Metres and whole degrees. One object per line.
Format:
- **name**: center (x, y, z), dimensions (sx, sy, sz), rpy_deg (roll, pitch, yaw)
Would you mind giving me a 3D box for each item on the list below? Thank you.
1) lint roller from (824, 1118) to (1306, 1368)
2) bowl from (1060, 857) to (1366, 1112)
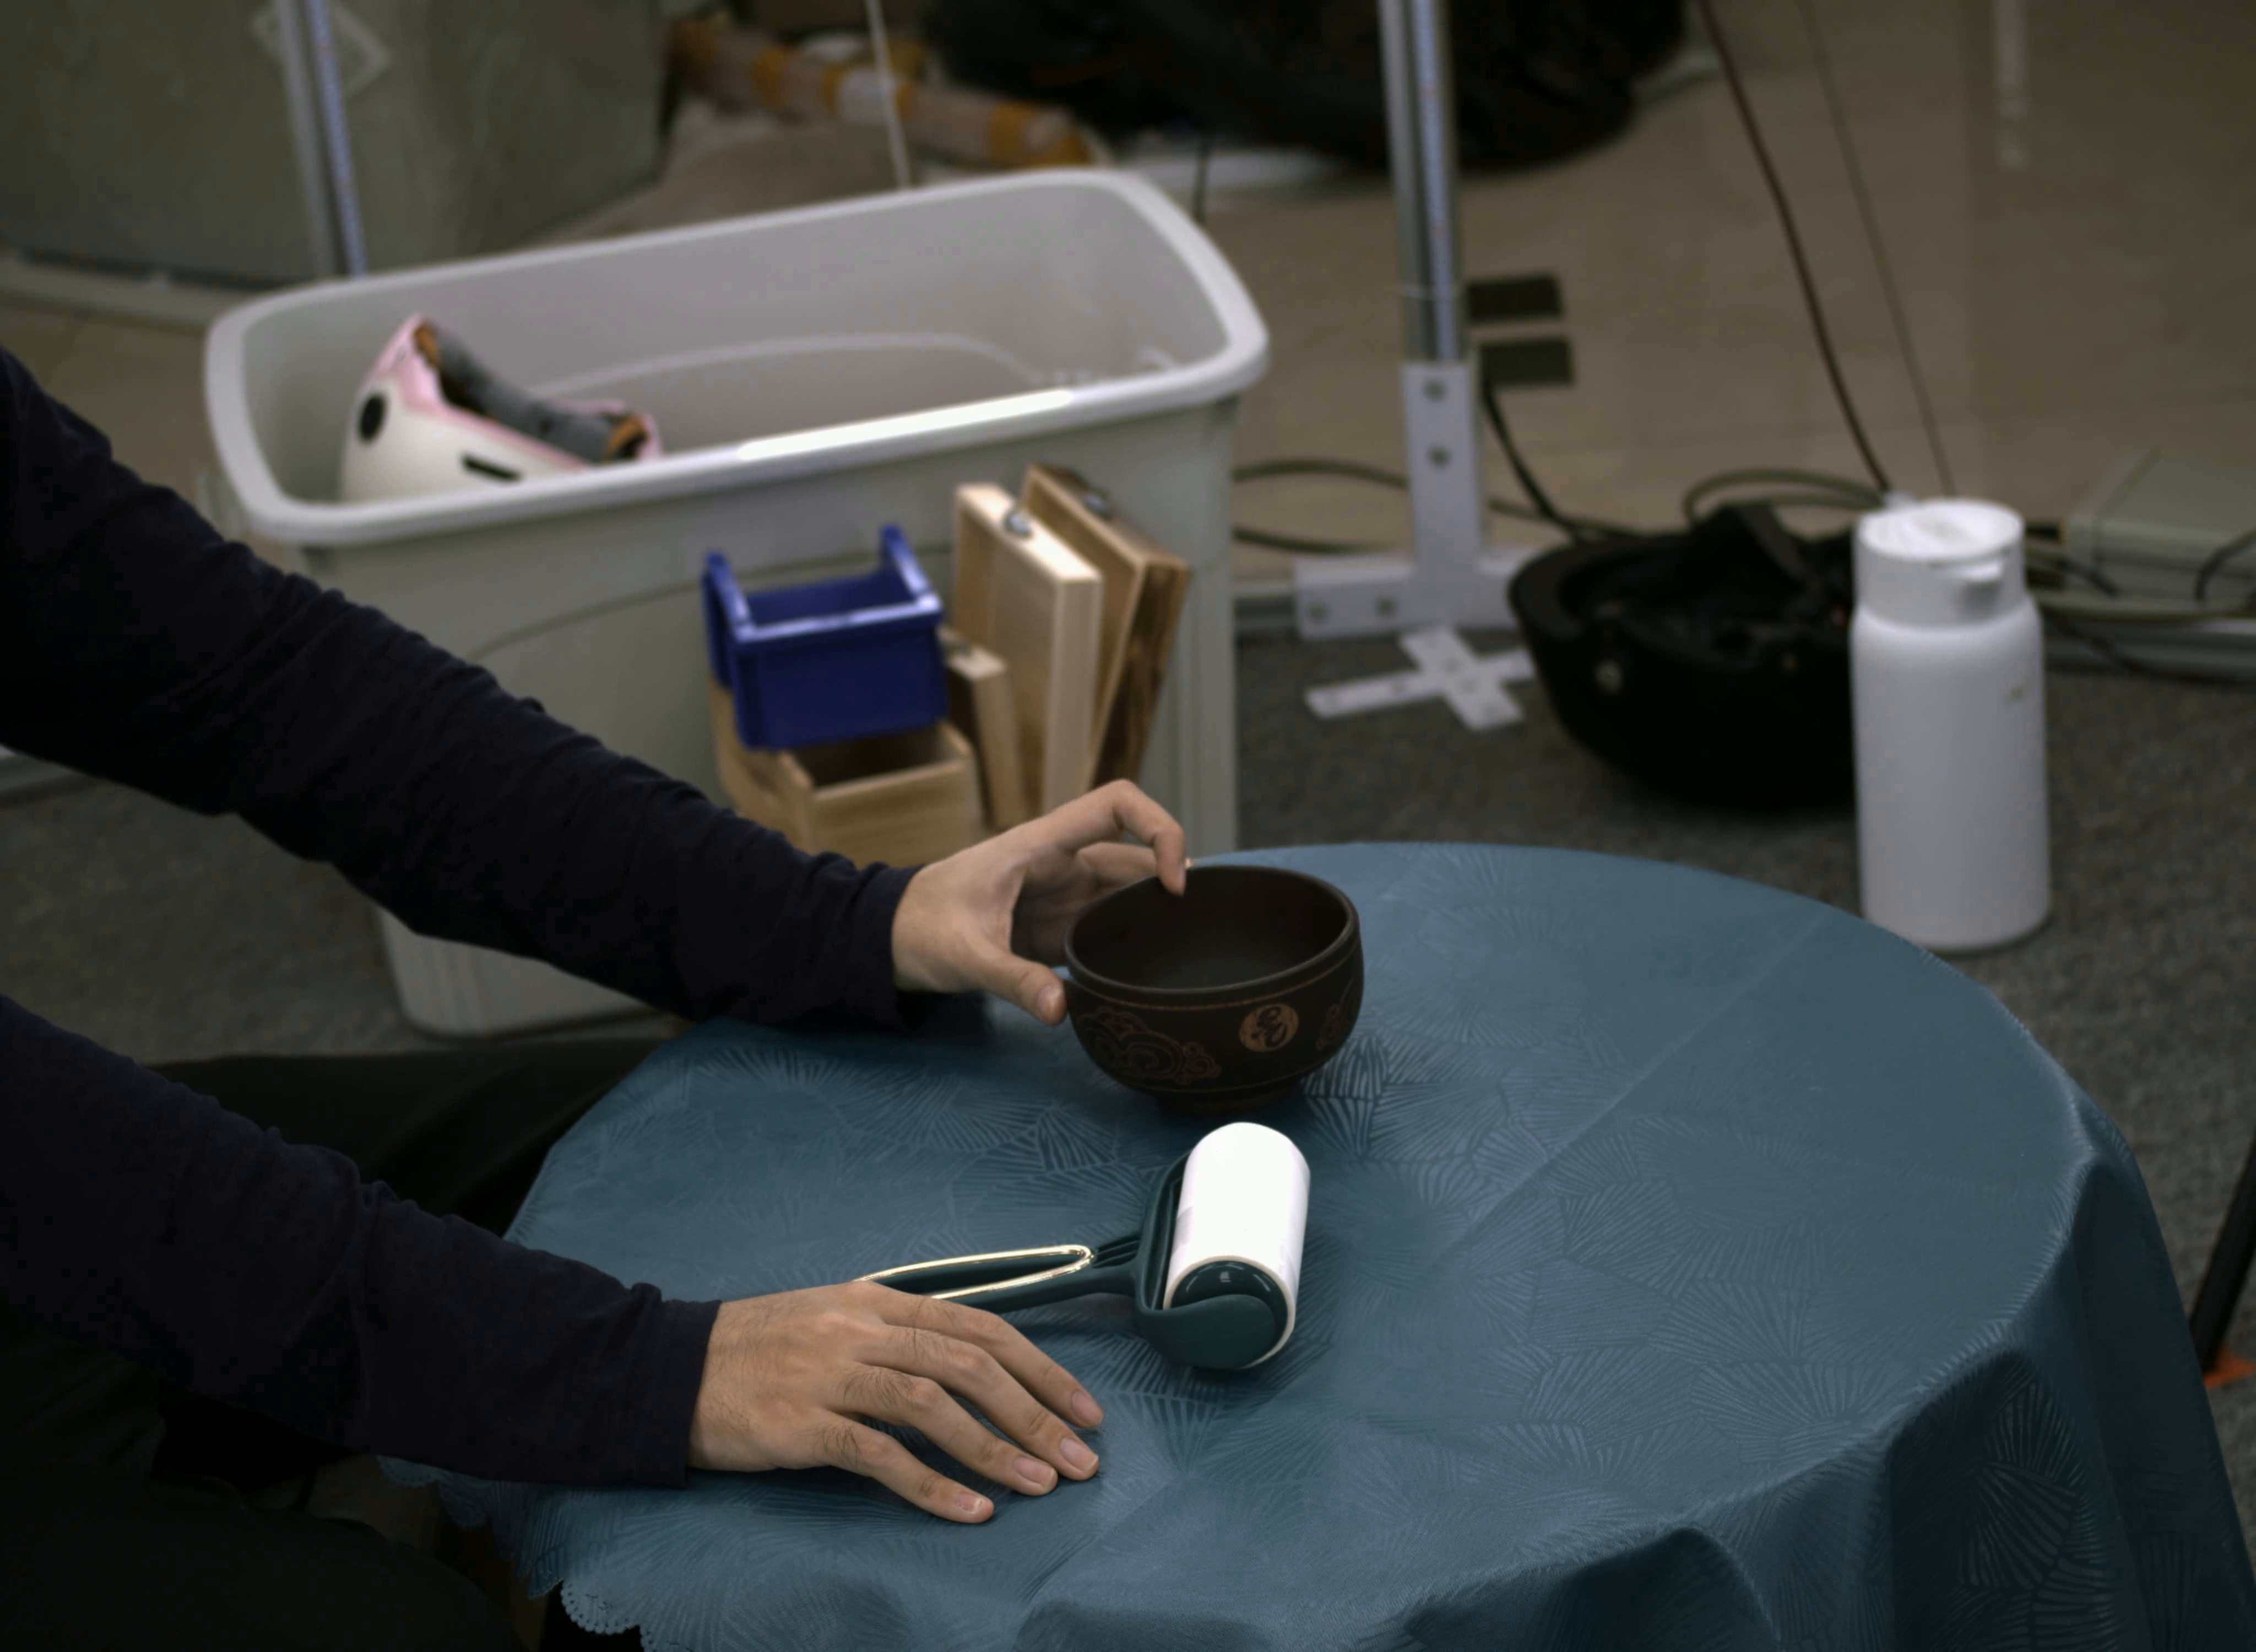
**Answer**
- **lint roller**: center (-0.026, 0.159, 2.067), dimensions (0.180, 0.049, 0.132), rpy_deg (-6, 25, 8)
- **bowl**: center (0.036, 0.068, 2.210), dimensions (0.118, 0.071, 0.116), rpy_deg (-7, 27, 4)
